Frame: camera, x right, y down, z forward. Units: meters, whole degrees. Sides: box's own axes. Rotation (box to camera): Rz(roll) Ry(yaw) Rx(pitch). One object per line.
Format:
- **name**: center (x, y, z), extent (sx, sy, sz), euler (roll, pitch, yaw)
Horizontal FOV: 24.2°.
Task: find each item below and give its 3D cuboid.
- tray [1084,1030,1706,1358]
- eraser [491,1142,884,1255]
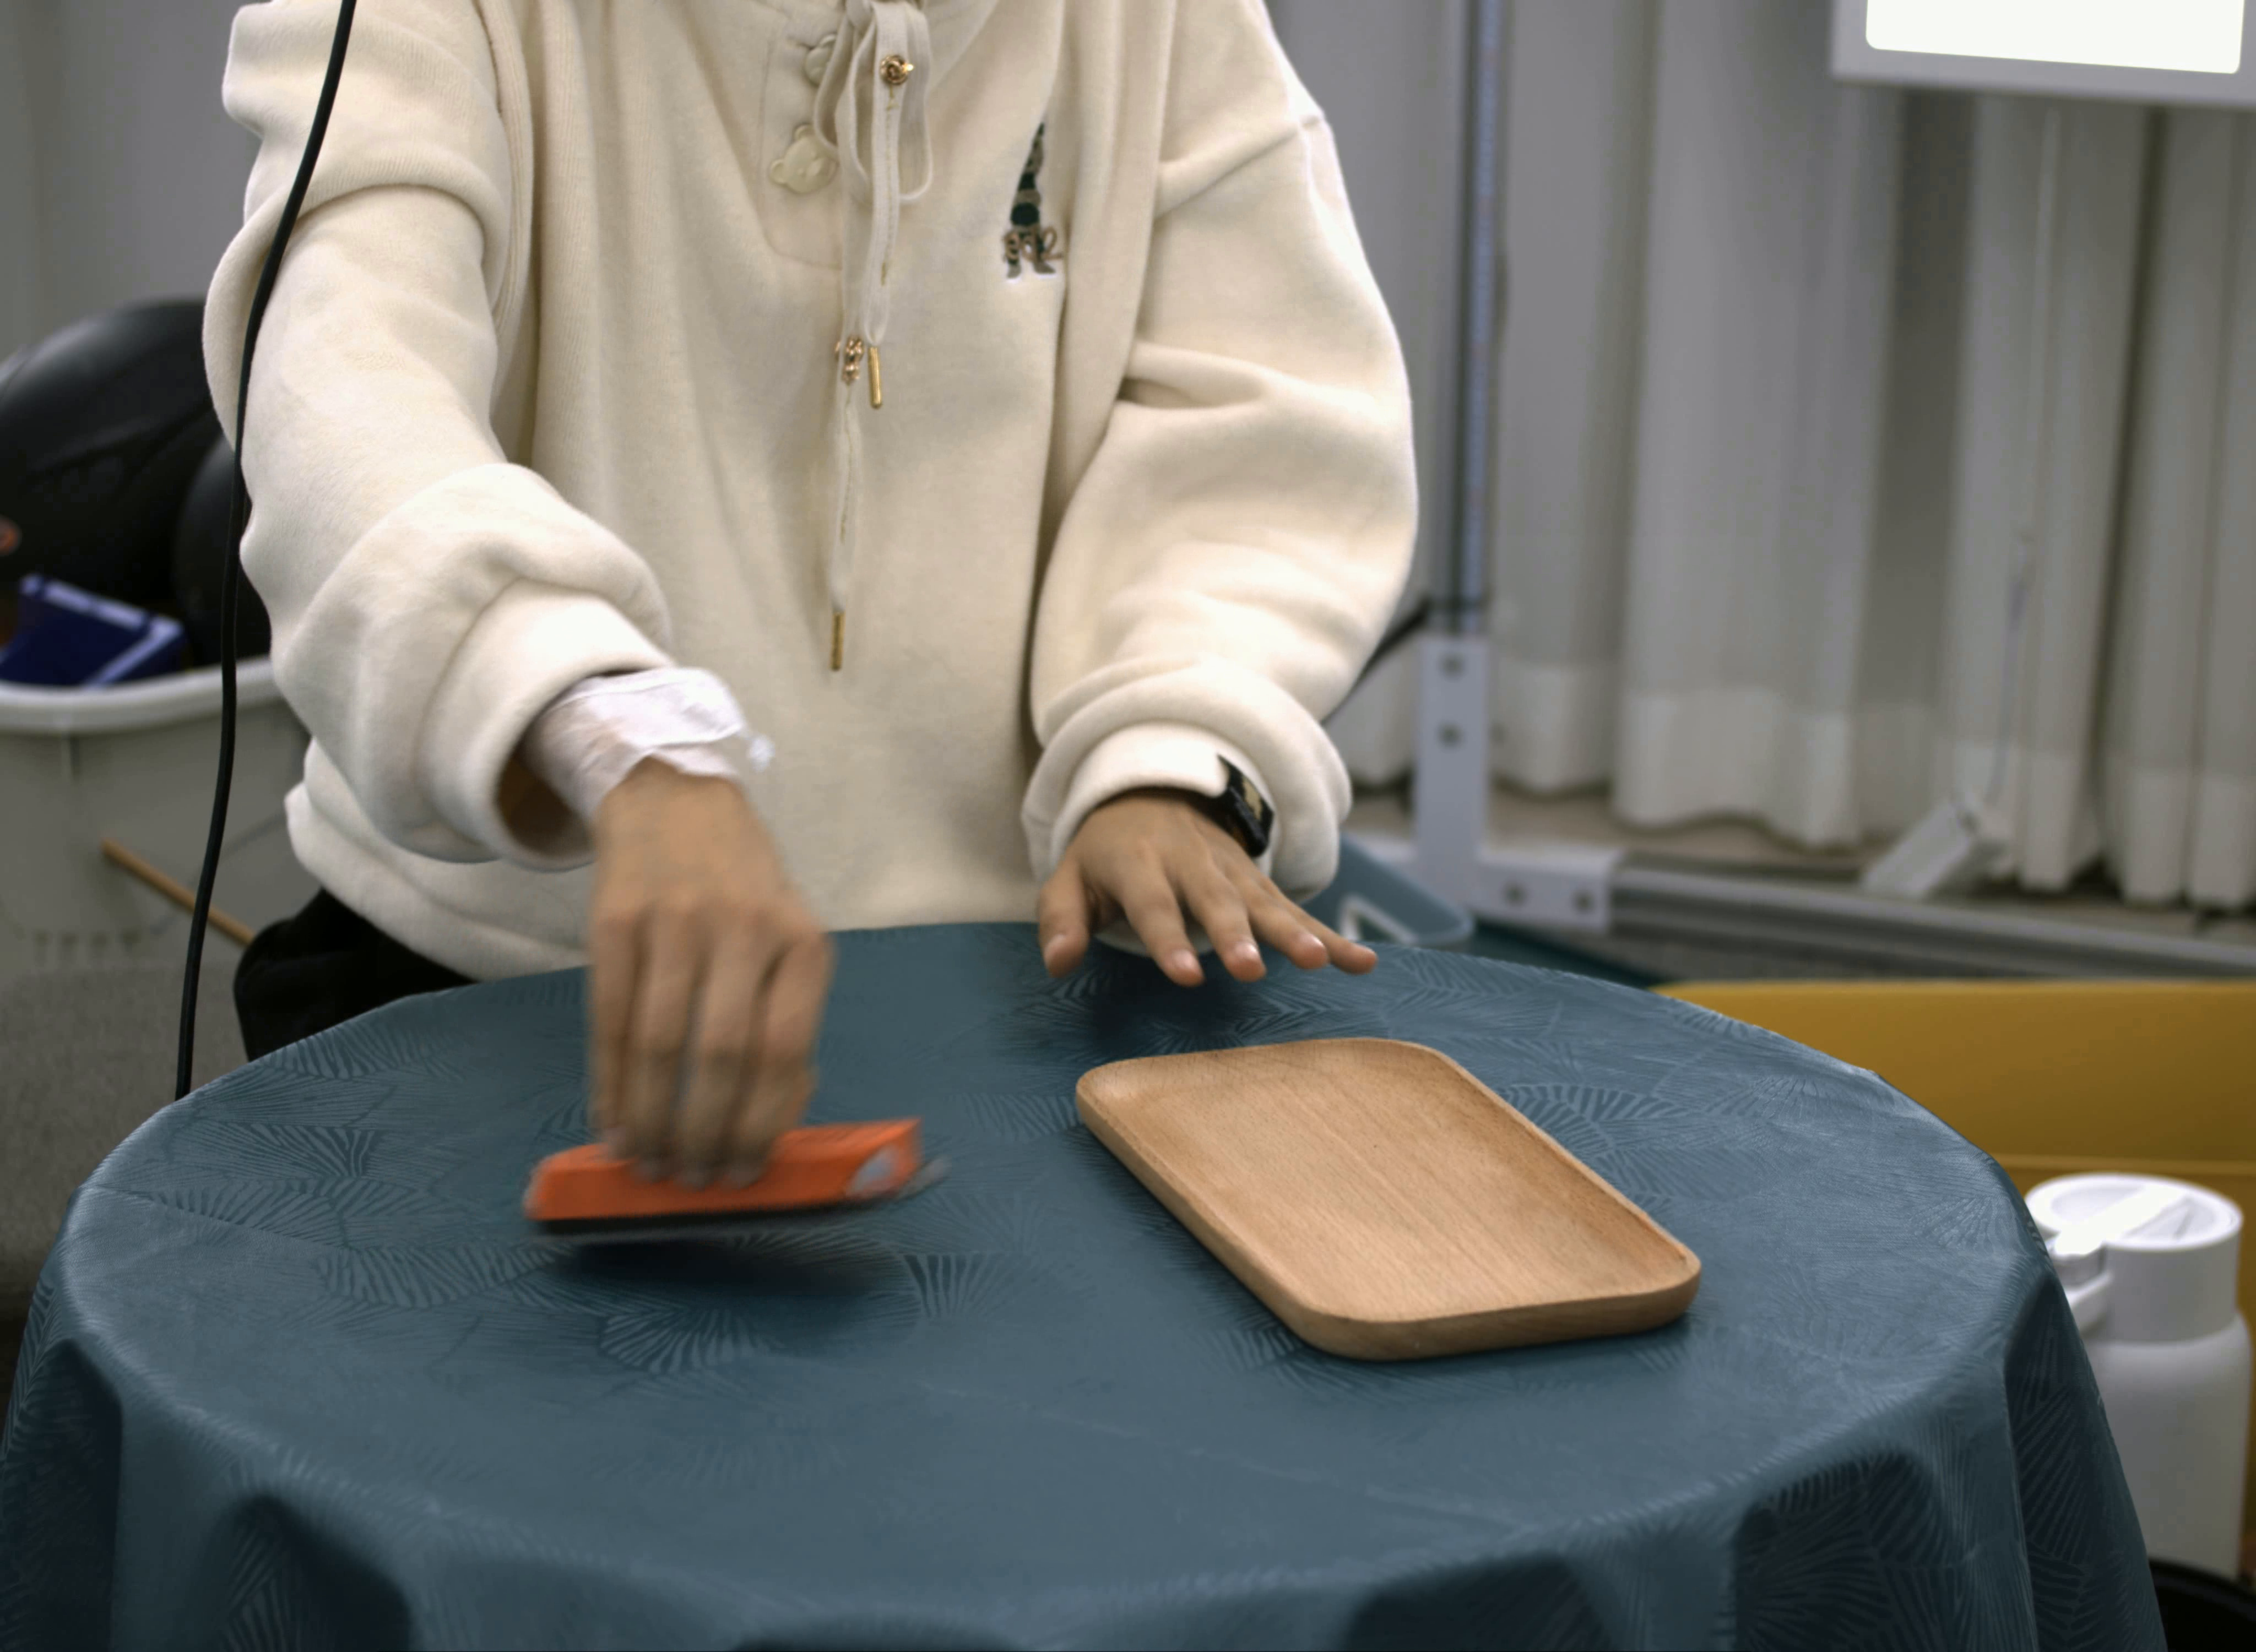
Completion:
- **tray**: center (0.076, 0.109, 1.601), extent (0.131, 0.023, 0.248), euler (-2, 15, -17)
- **eraser**: center (-0.129, 0.109, 1.551), extent (0.107, 0.023, 0.059), euler (-1, 8, 17)
